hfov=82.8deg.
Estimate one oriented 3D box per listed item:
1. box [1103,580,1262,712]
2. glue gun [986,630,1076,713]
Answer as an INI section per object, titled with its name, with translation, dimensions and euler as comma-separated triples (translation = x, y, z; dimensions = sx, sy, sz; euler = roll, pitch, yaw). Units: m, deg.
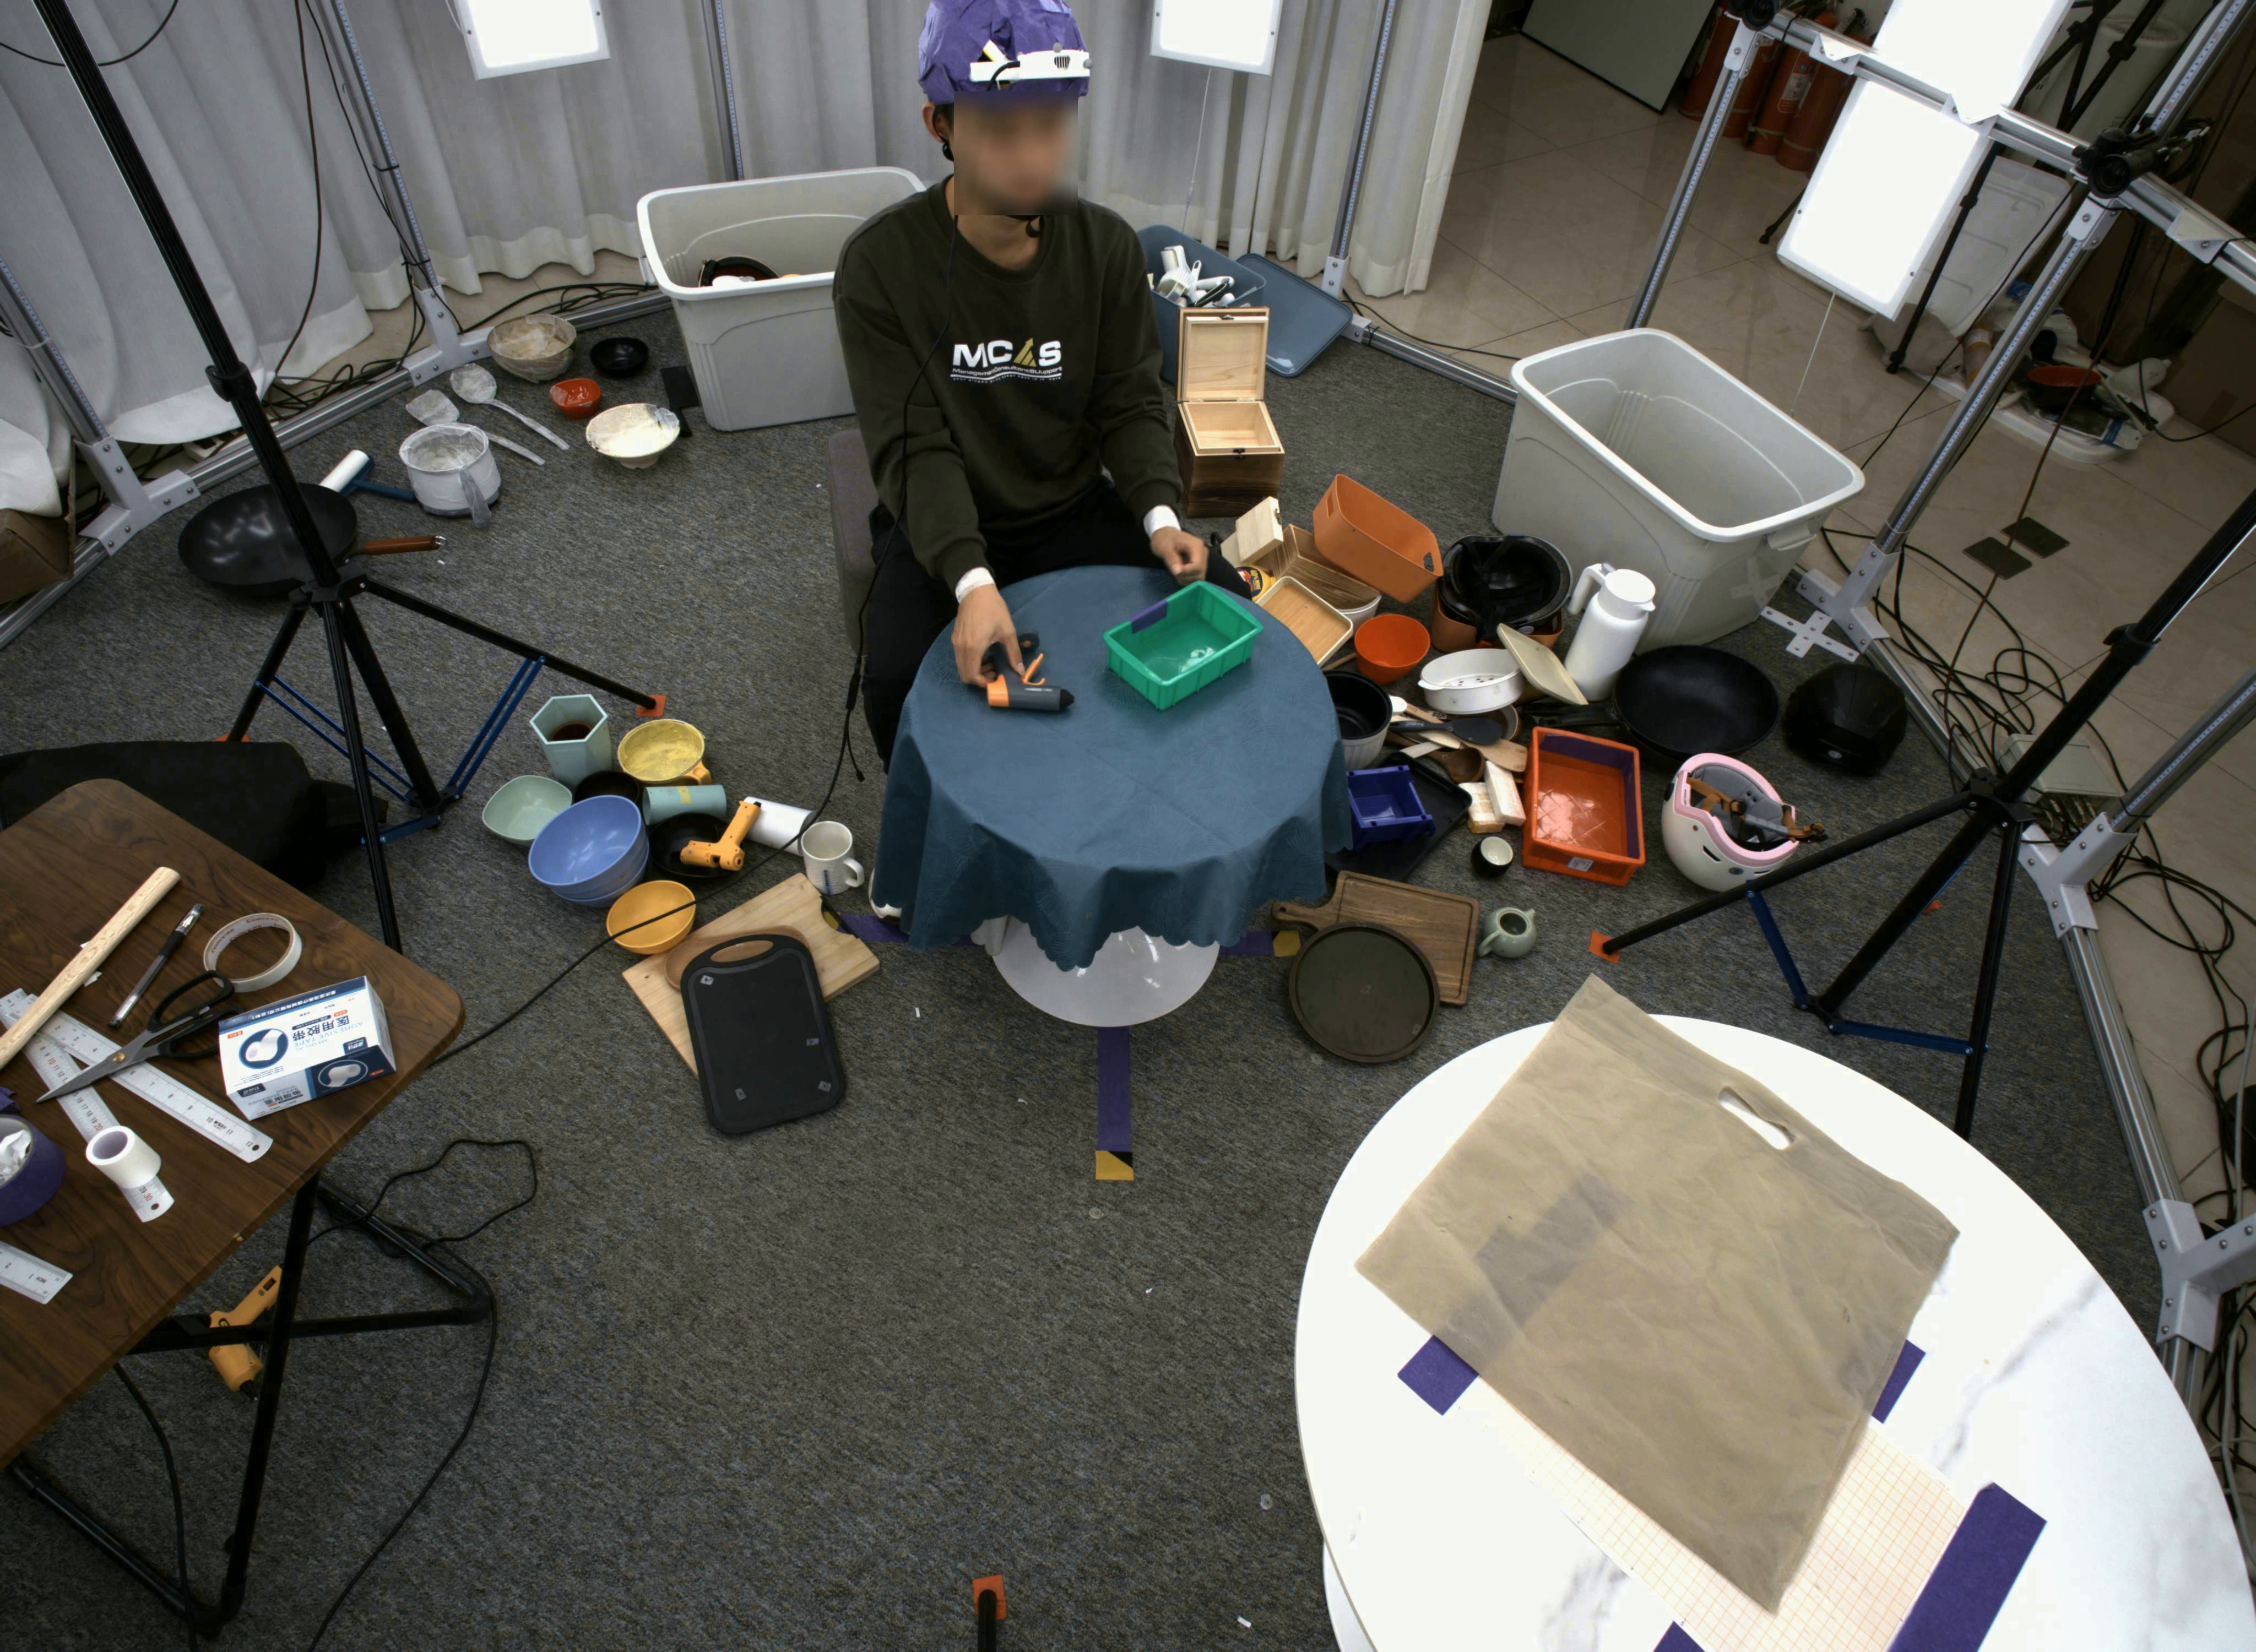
[box]
translation = 0.077, -0.258, 1.850
dimensions = 0.212, 0.064, 0.141
euler = -35, 58, -27
[glue gun]
translation = -0.144, -0.213, 1.814
dimensions = 0.118, 0.040, 0.143
euler = -6, 52, -16
